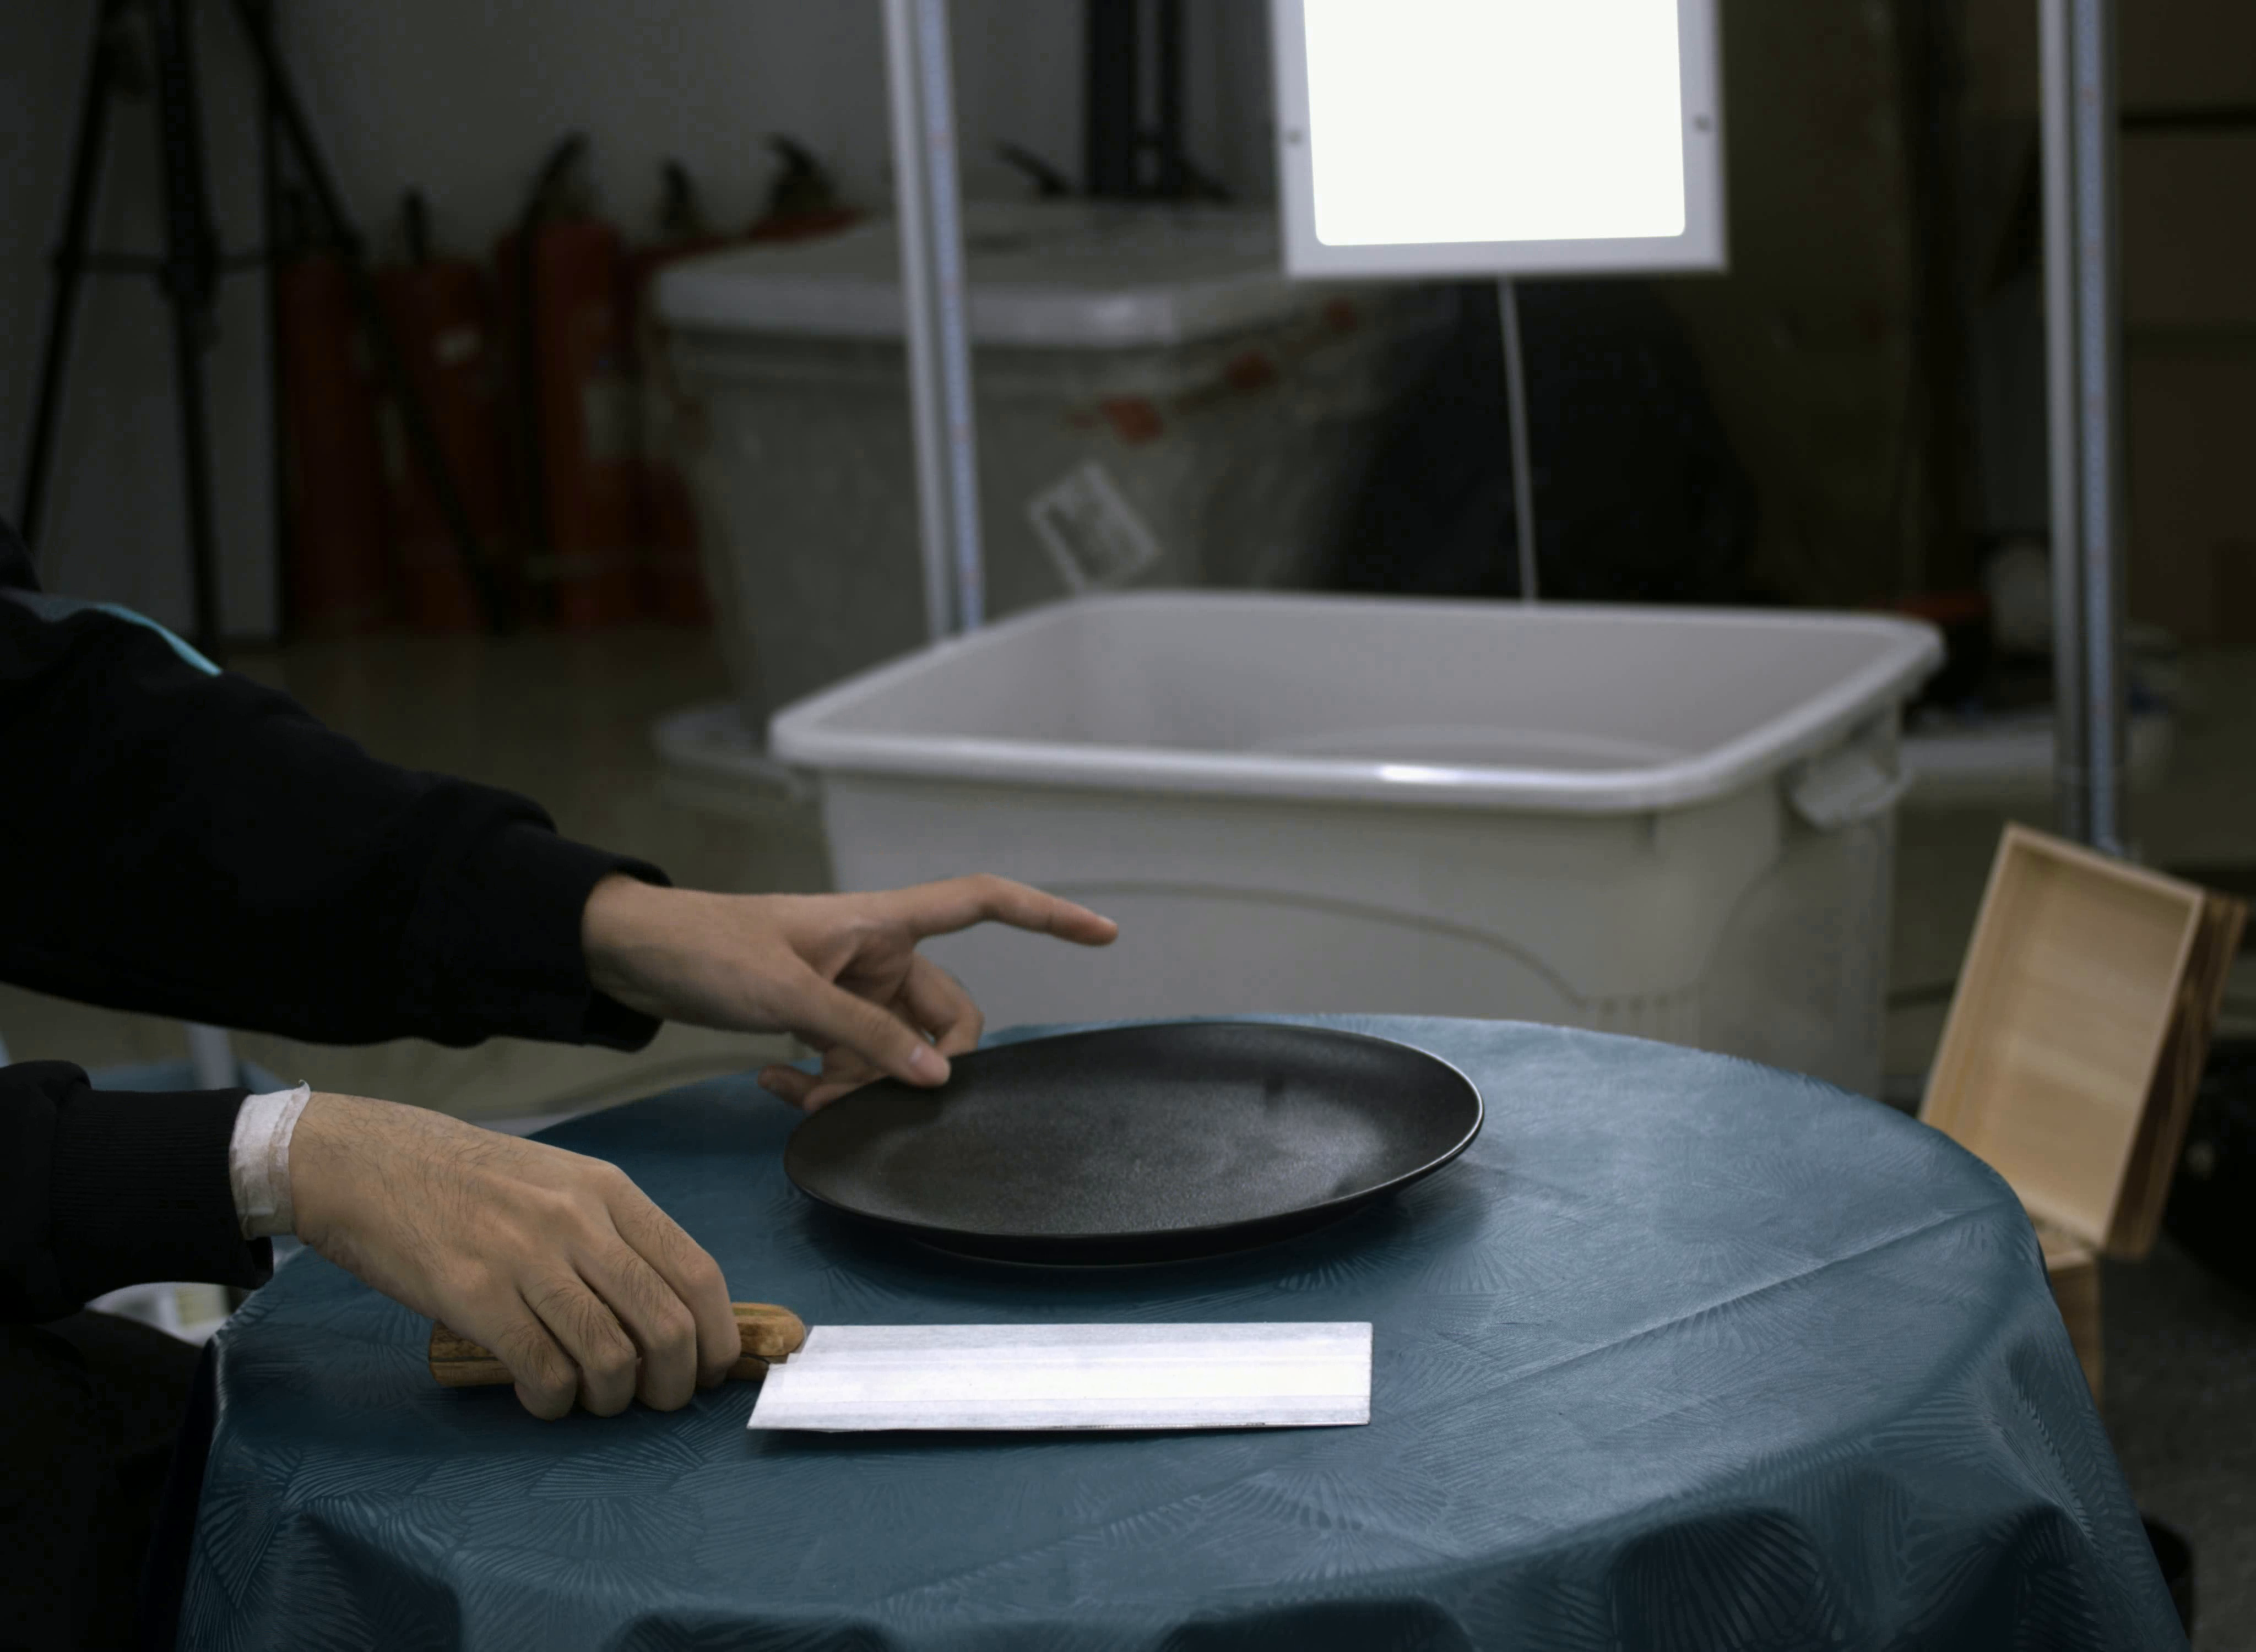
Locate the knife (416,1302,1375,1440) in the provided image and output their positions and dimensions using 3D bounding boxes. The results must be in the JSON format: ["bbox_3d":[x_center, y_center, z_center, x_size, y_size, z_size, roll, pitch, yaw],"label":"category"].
[{"bbox_3d":[-0.075,0.171,1.713,0.306,0.021,0.092,-1,15,6],"label":"knife"}]

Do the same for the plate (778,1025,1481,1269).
[{"bbox_3d":[0.001,0.113,1.901,0.244,0.023,0.244,-5,14,0],"label":"plate"}]
